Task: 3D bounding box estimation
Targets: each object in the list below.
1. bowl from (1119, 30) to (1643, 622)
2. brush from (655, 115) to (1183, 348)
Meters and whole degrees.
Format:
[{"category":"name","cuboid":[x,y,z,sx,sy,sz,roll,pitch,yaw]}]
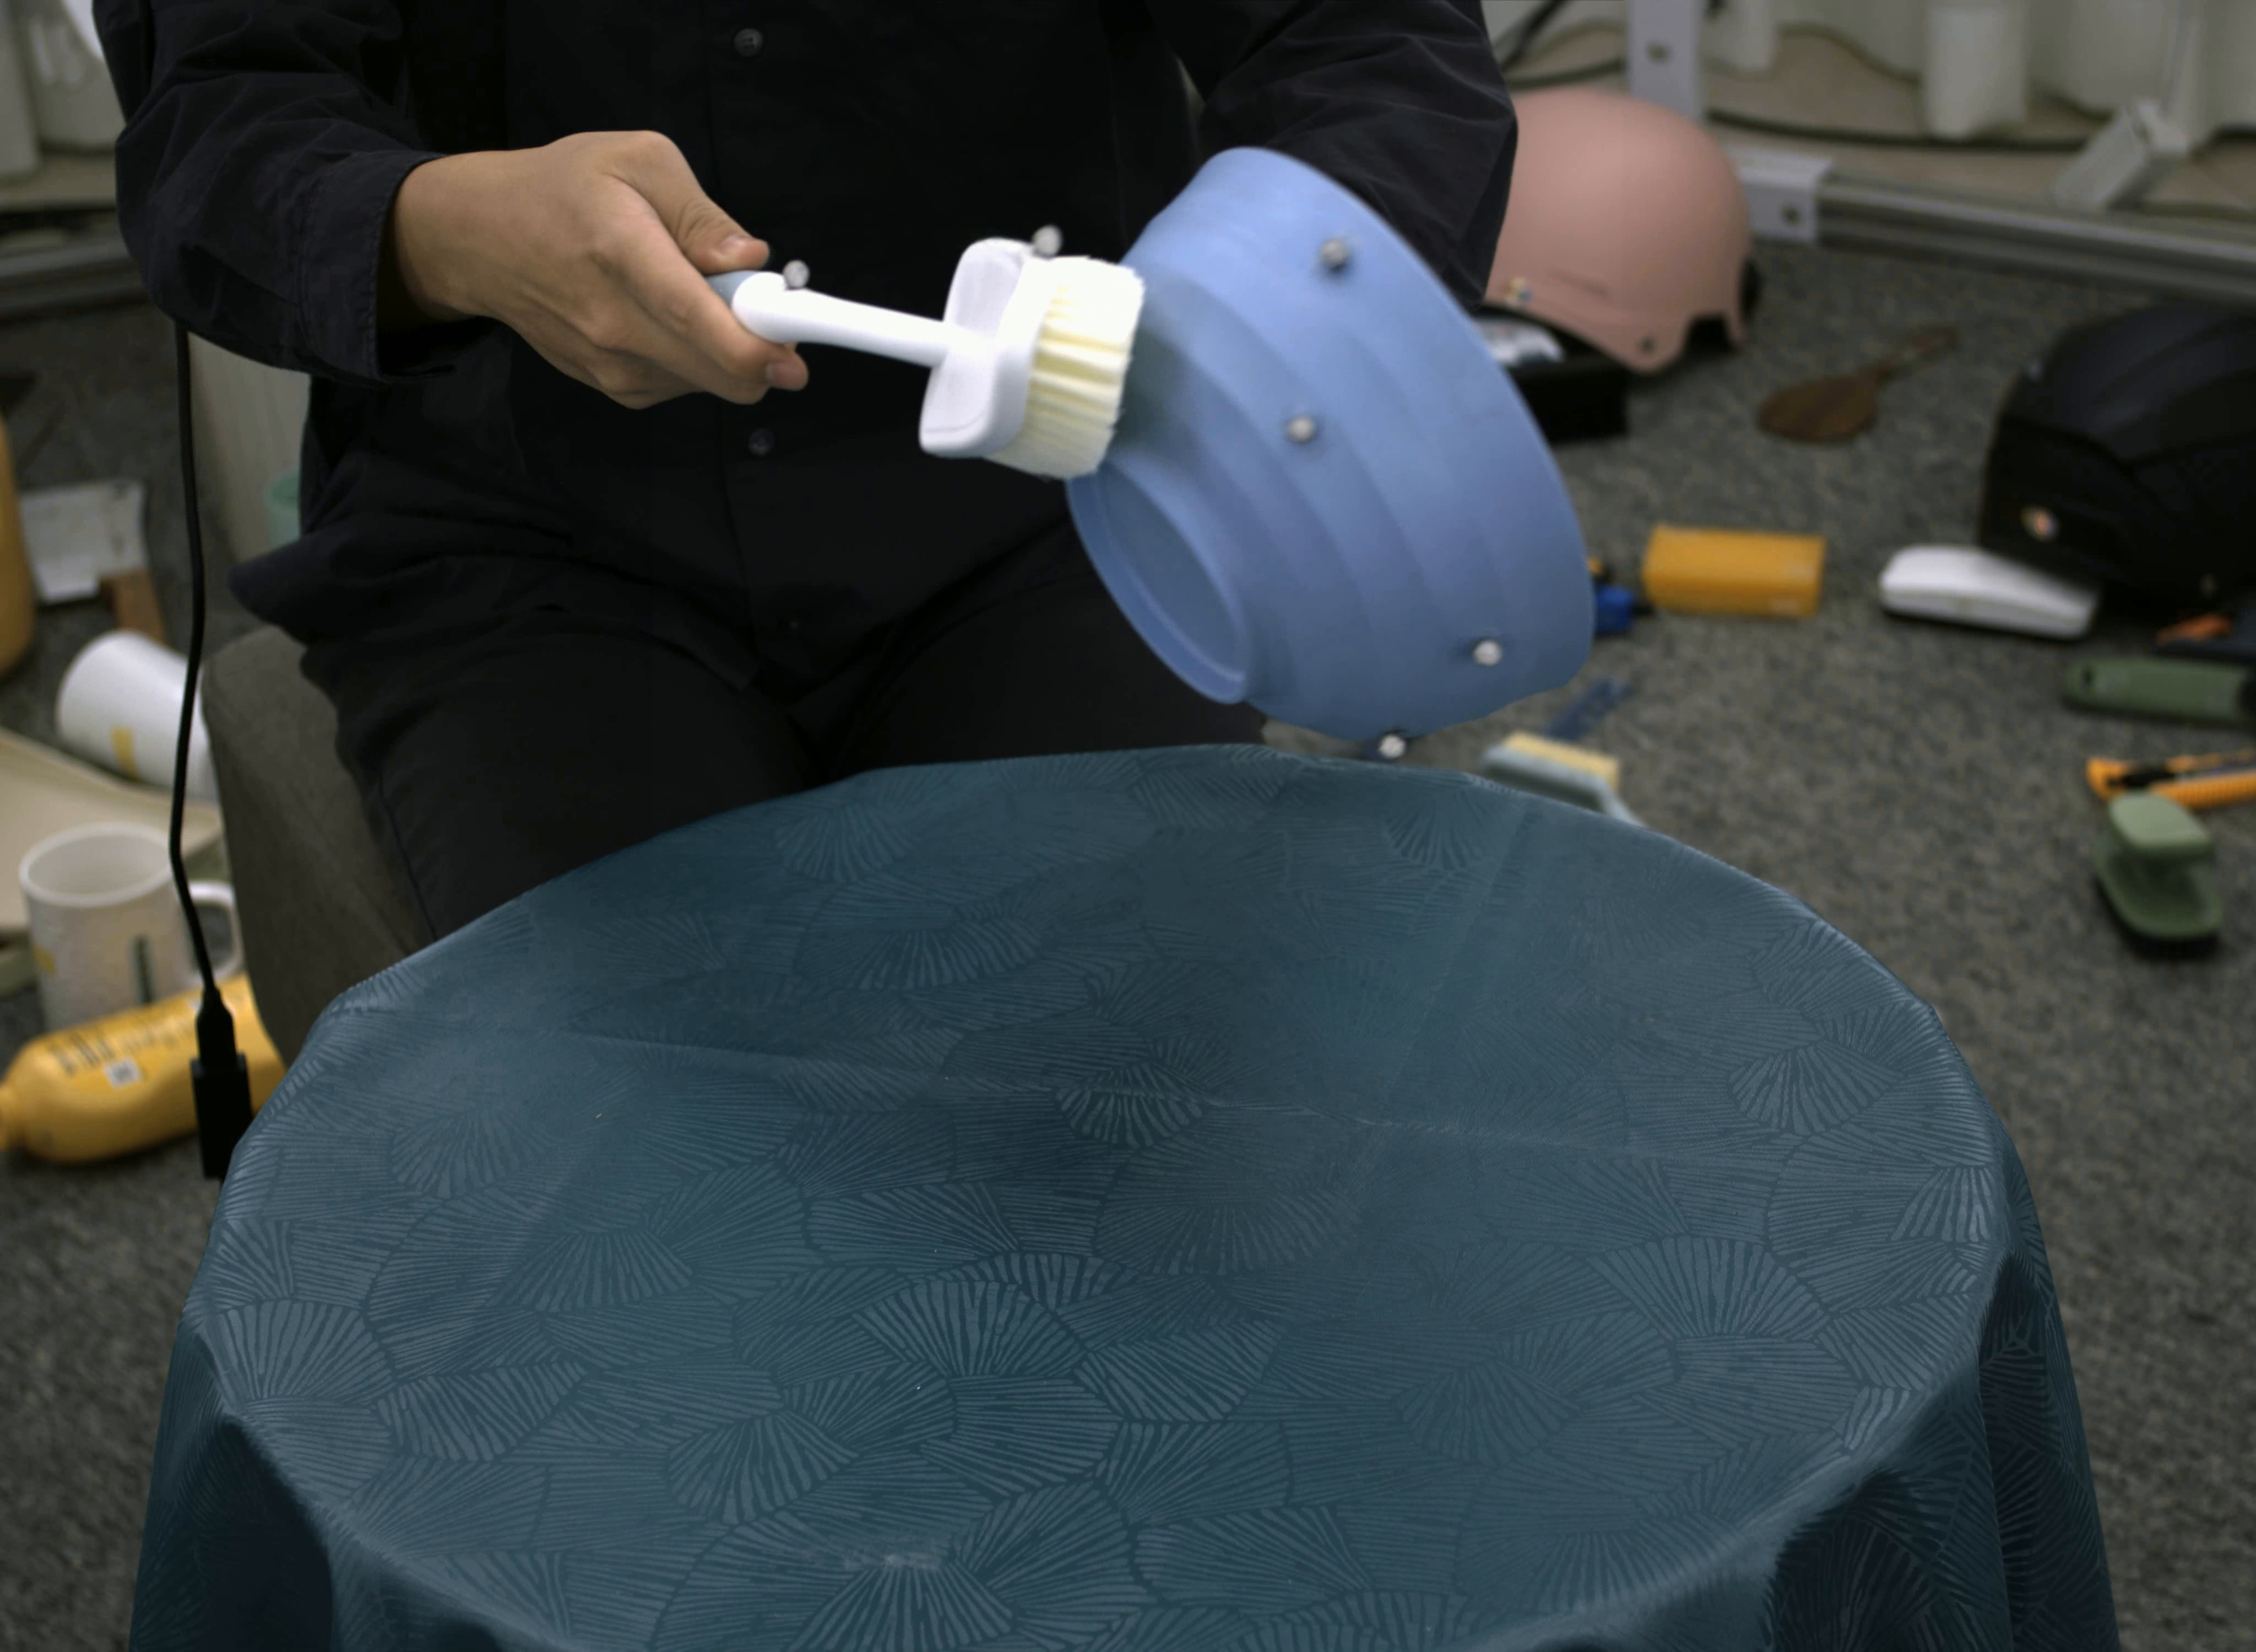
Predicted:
[{"category":"bowl","cuboid":[0.061,-0.139,1.753,0.096,0.194,0.197,-34,37,-17]},{"category":"brush","cuboid":[-0.053,-0.198,1.813,0.084,0.084,0.324,-44,23,-14]}]
